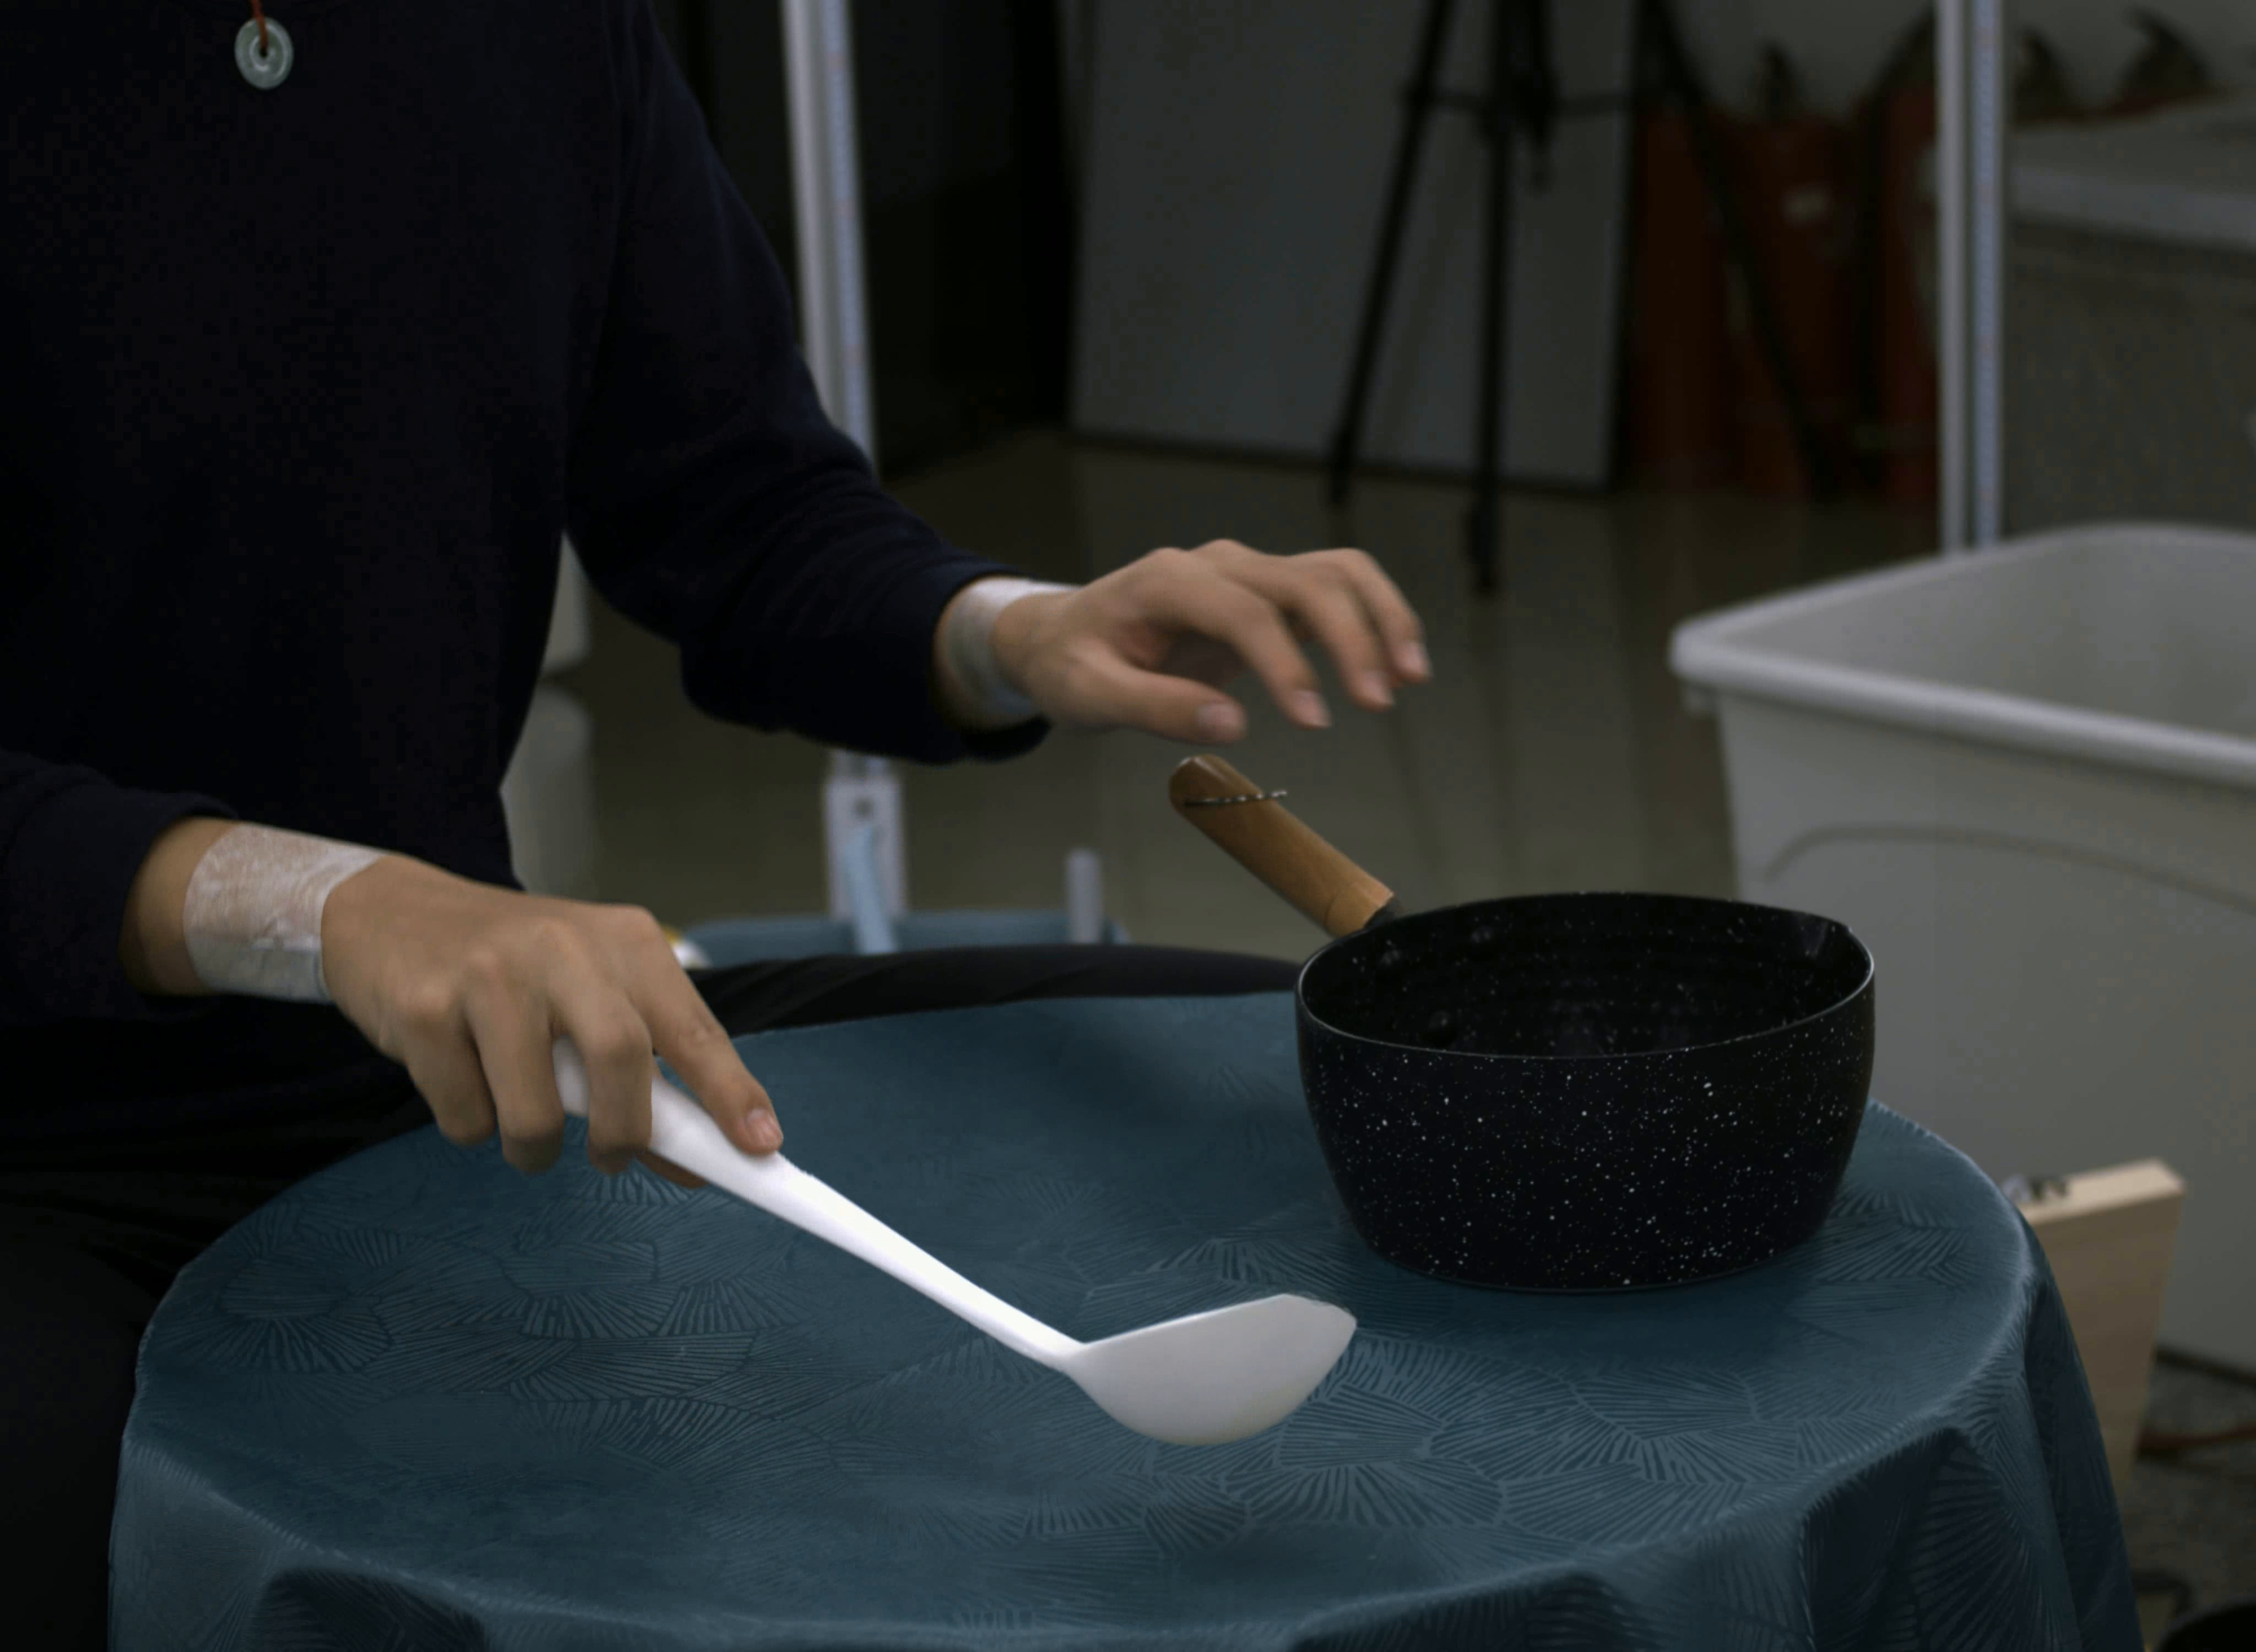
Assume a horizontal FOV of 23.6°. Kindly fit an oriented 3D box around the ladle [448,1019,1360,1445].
[{"bbox_3d":[-0.070,0.100,1.506,0.295,0.071,0.088,22,22,31],"label":"ladle"}]

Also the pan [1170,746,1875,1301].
[{"bbox_3d":[0.105,0.059,1.767,0.203,0.109,0.346,-12,17,-27],"label":"pan"}]
